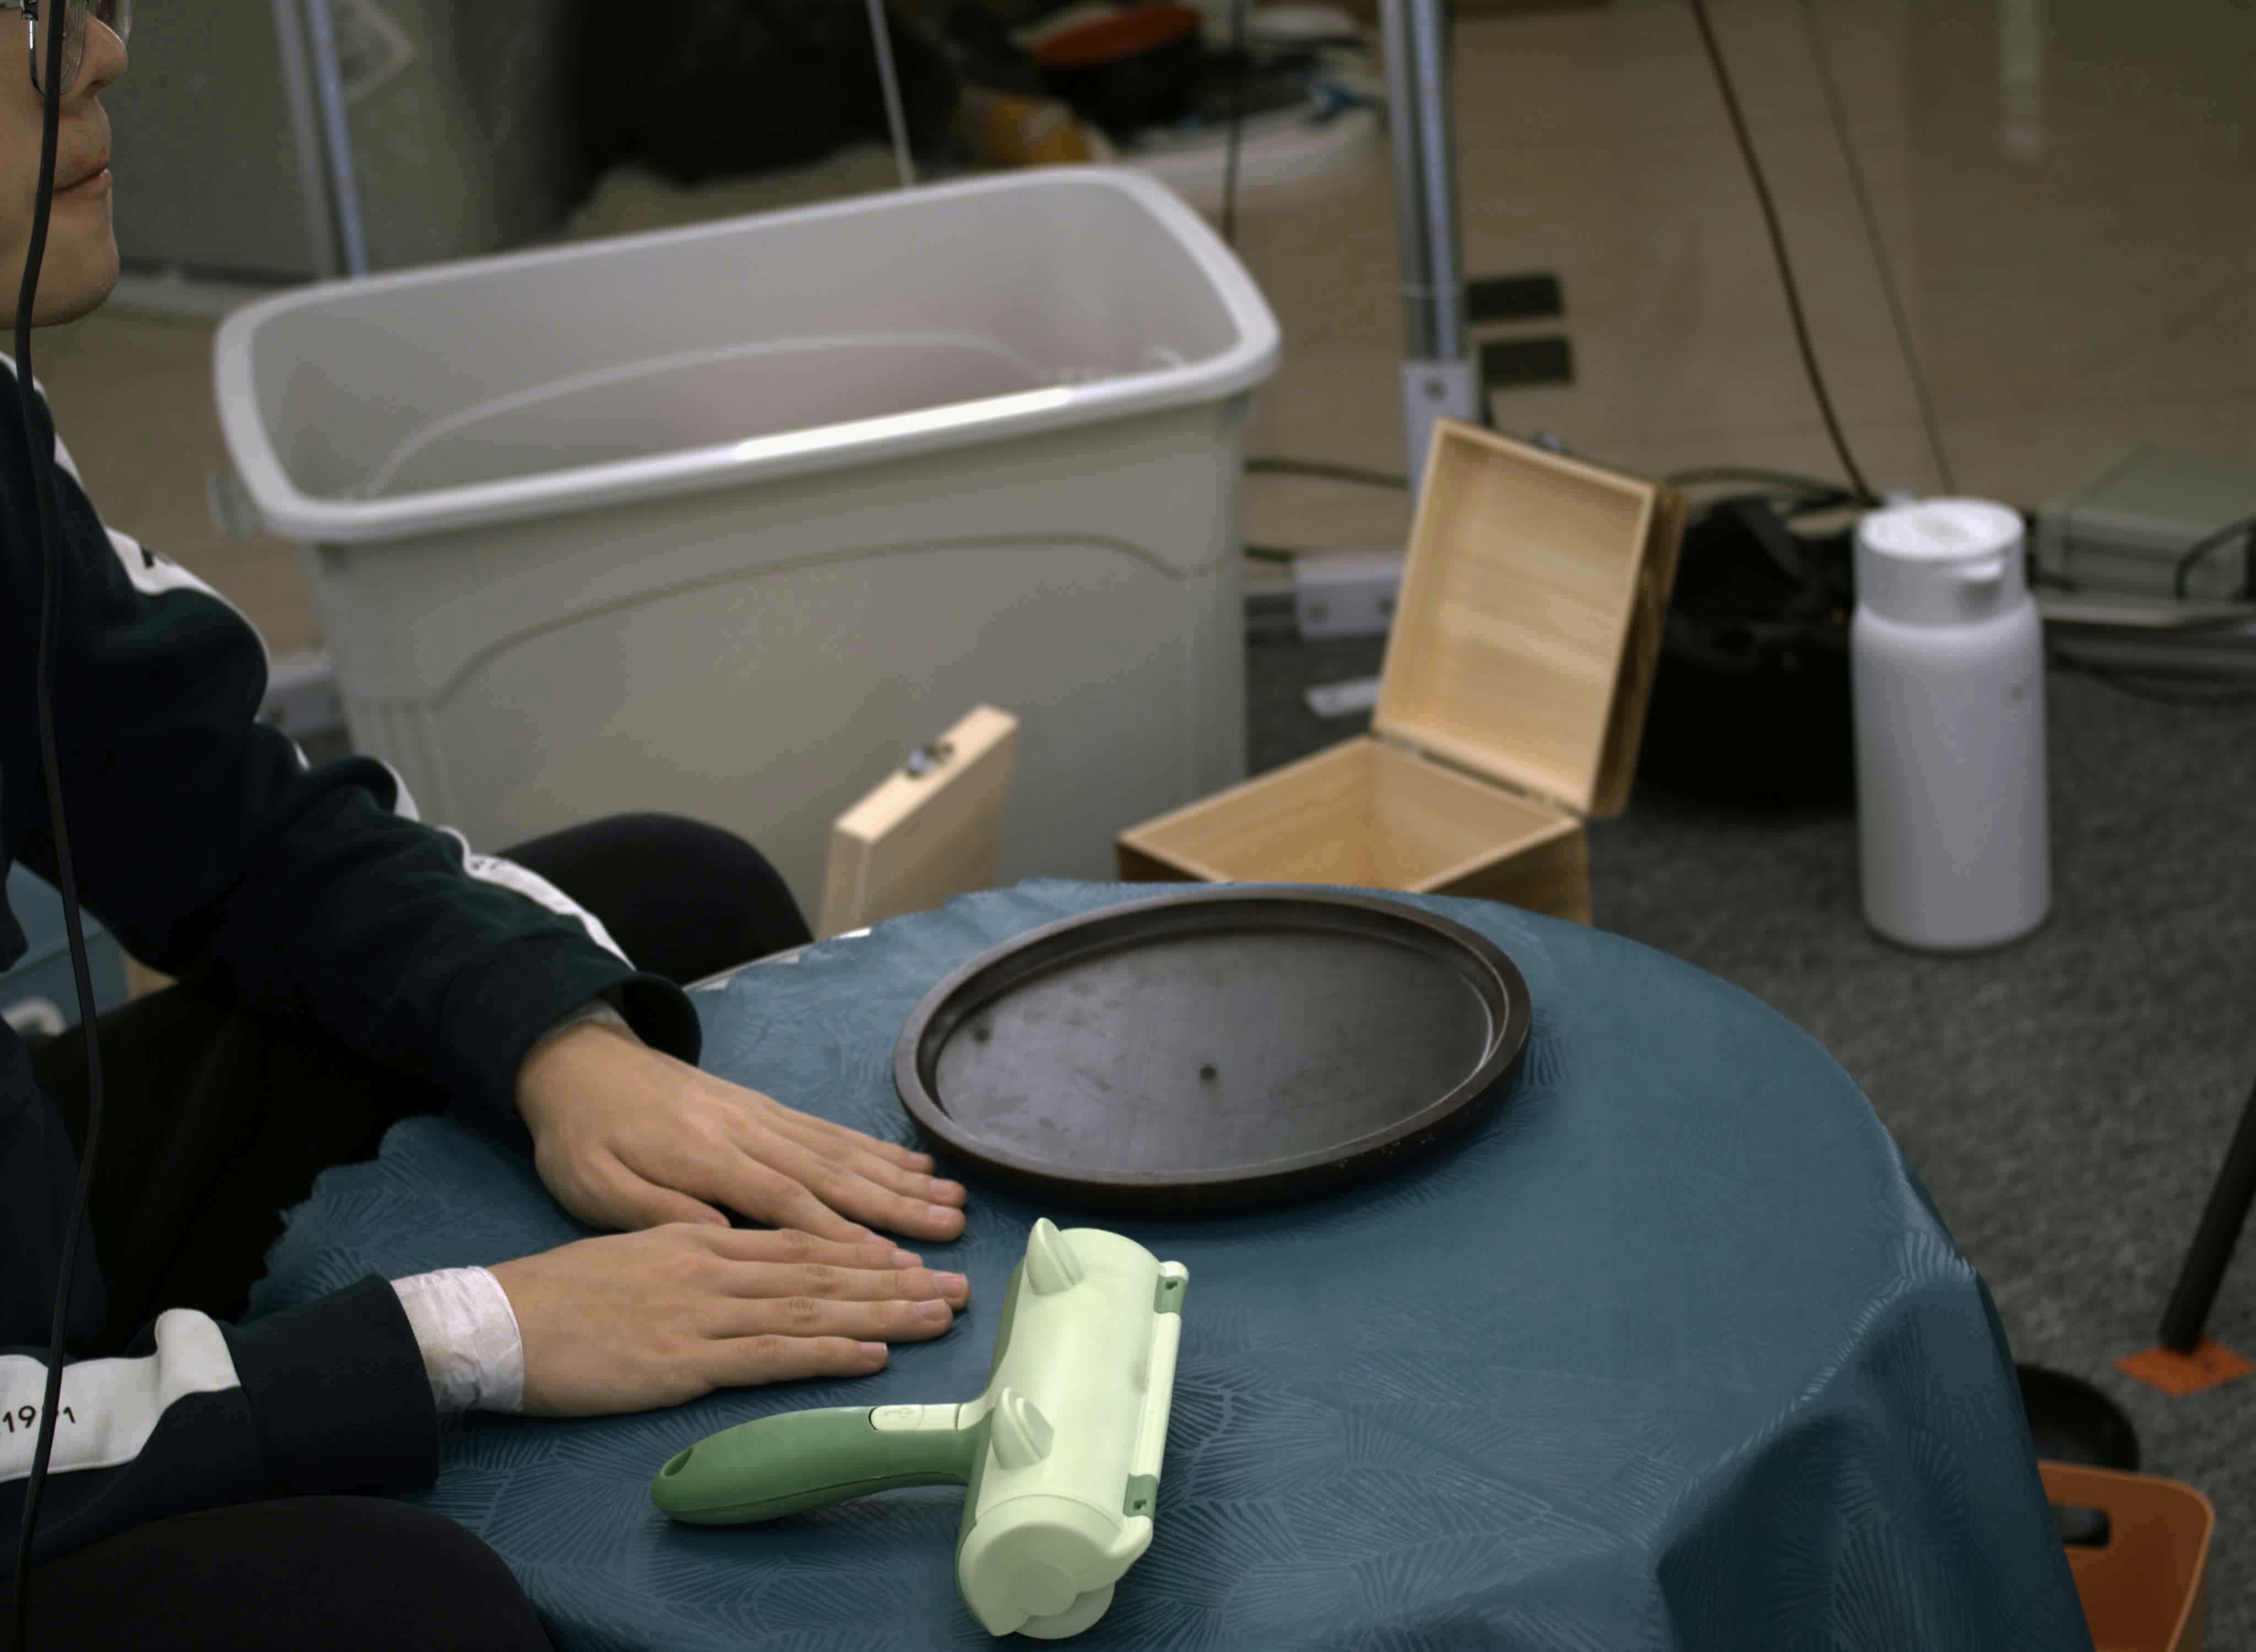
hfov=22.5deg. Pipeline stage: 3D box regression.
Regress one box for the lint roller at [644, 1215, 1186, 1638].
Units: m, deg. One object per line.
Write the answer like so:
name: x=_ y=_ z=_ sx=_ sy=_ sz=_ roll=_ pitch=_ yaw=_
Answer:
lint roller: x=-0.077 y=0.198 z=1.940 sx=0.183 sy=0.083 sz=0.195 roll=0 pitch=26 yaw=5

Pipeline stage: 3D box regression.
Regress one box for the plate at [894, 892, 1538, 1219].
plate: x=0.034 y=0.088 z=2.217 sx=0.254 sy=0.029 sz=0.251 roll=-5 pitch=26 yaw=3
